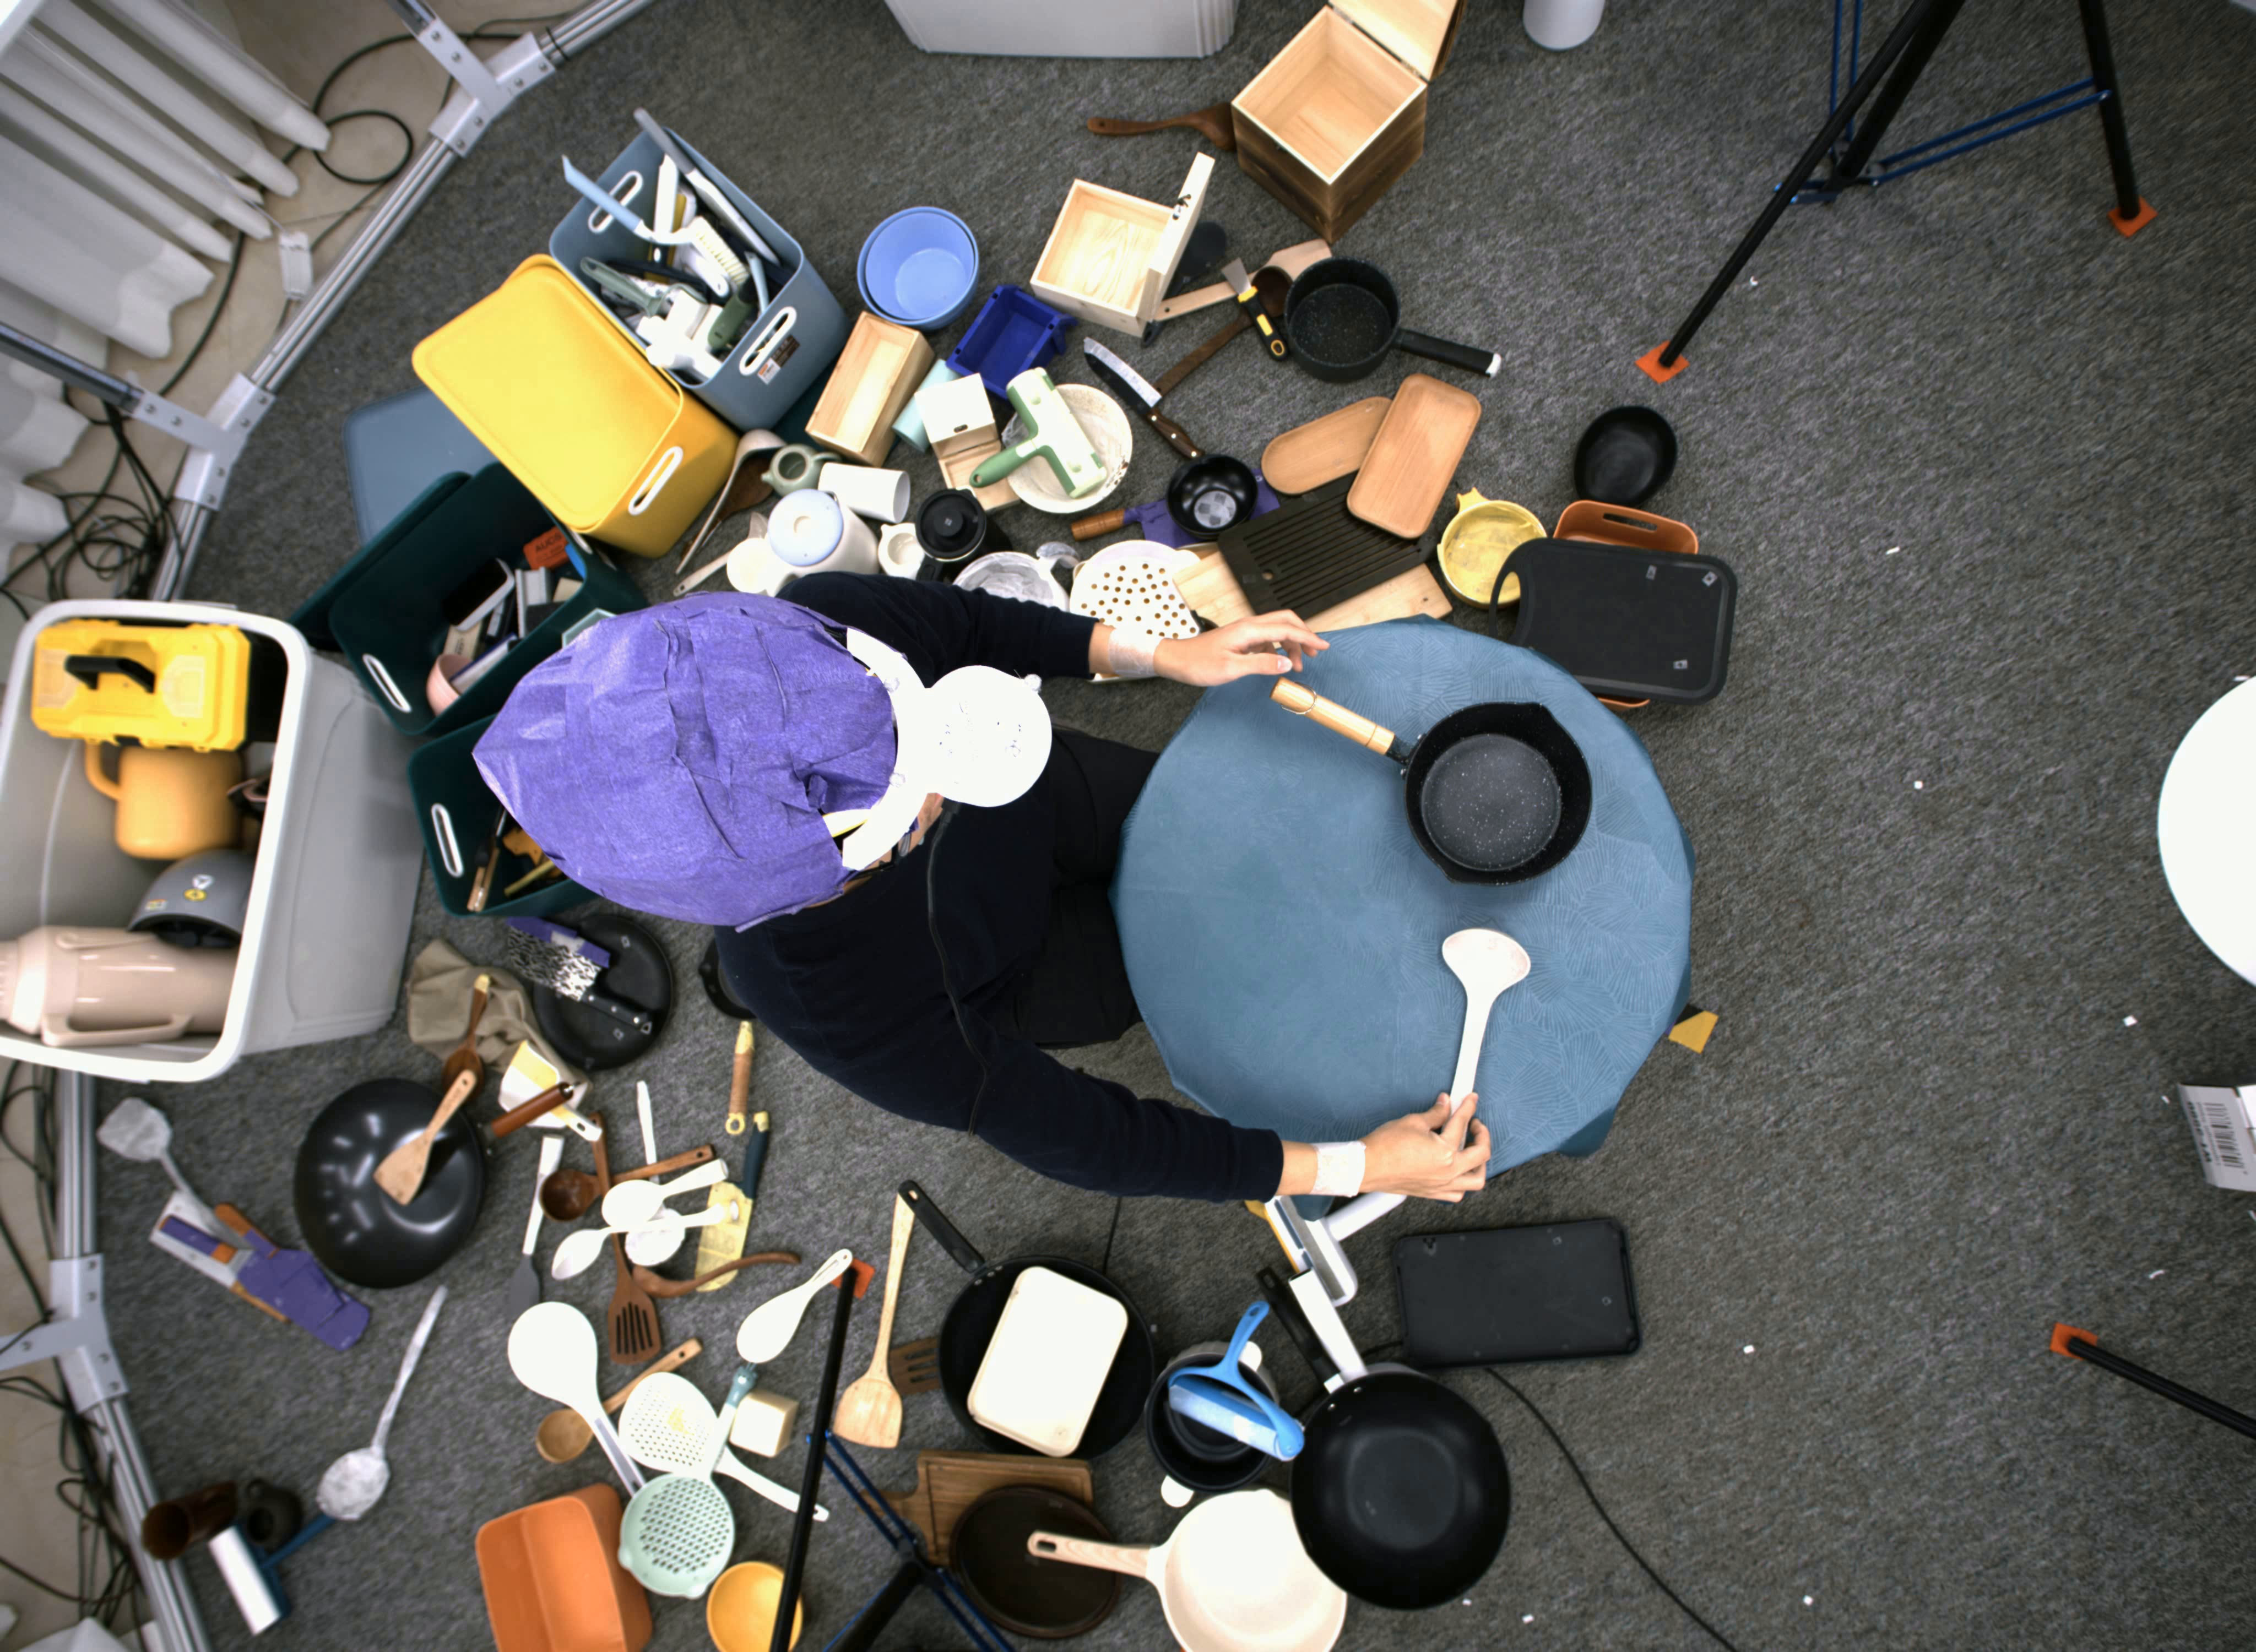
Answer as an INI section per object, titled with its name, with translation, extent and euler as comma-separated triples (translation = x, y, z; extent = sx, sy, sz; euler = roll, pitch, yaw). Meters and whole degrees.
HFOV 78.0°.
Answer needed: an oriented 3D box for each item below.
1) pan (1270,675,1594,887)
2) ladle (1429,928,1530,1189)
[pan]
translation = 0.301, -0.064, 1.407
extent = 0.342, 0.108, 0.208
euler = 25, 92, 9
[ladle]
translation = 0.341, 0.237, 1.405
extent = 0.089, 0.069, 0.274
euler = 13, 90, 16
